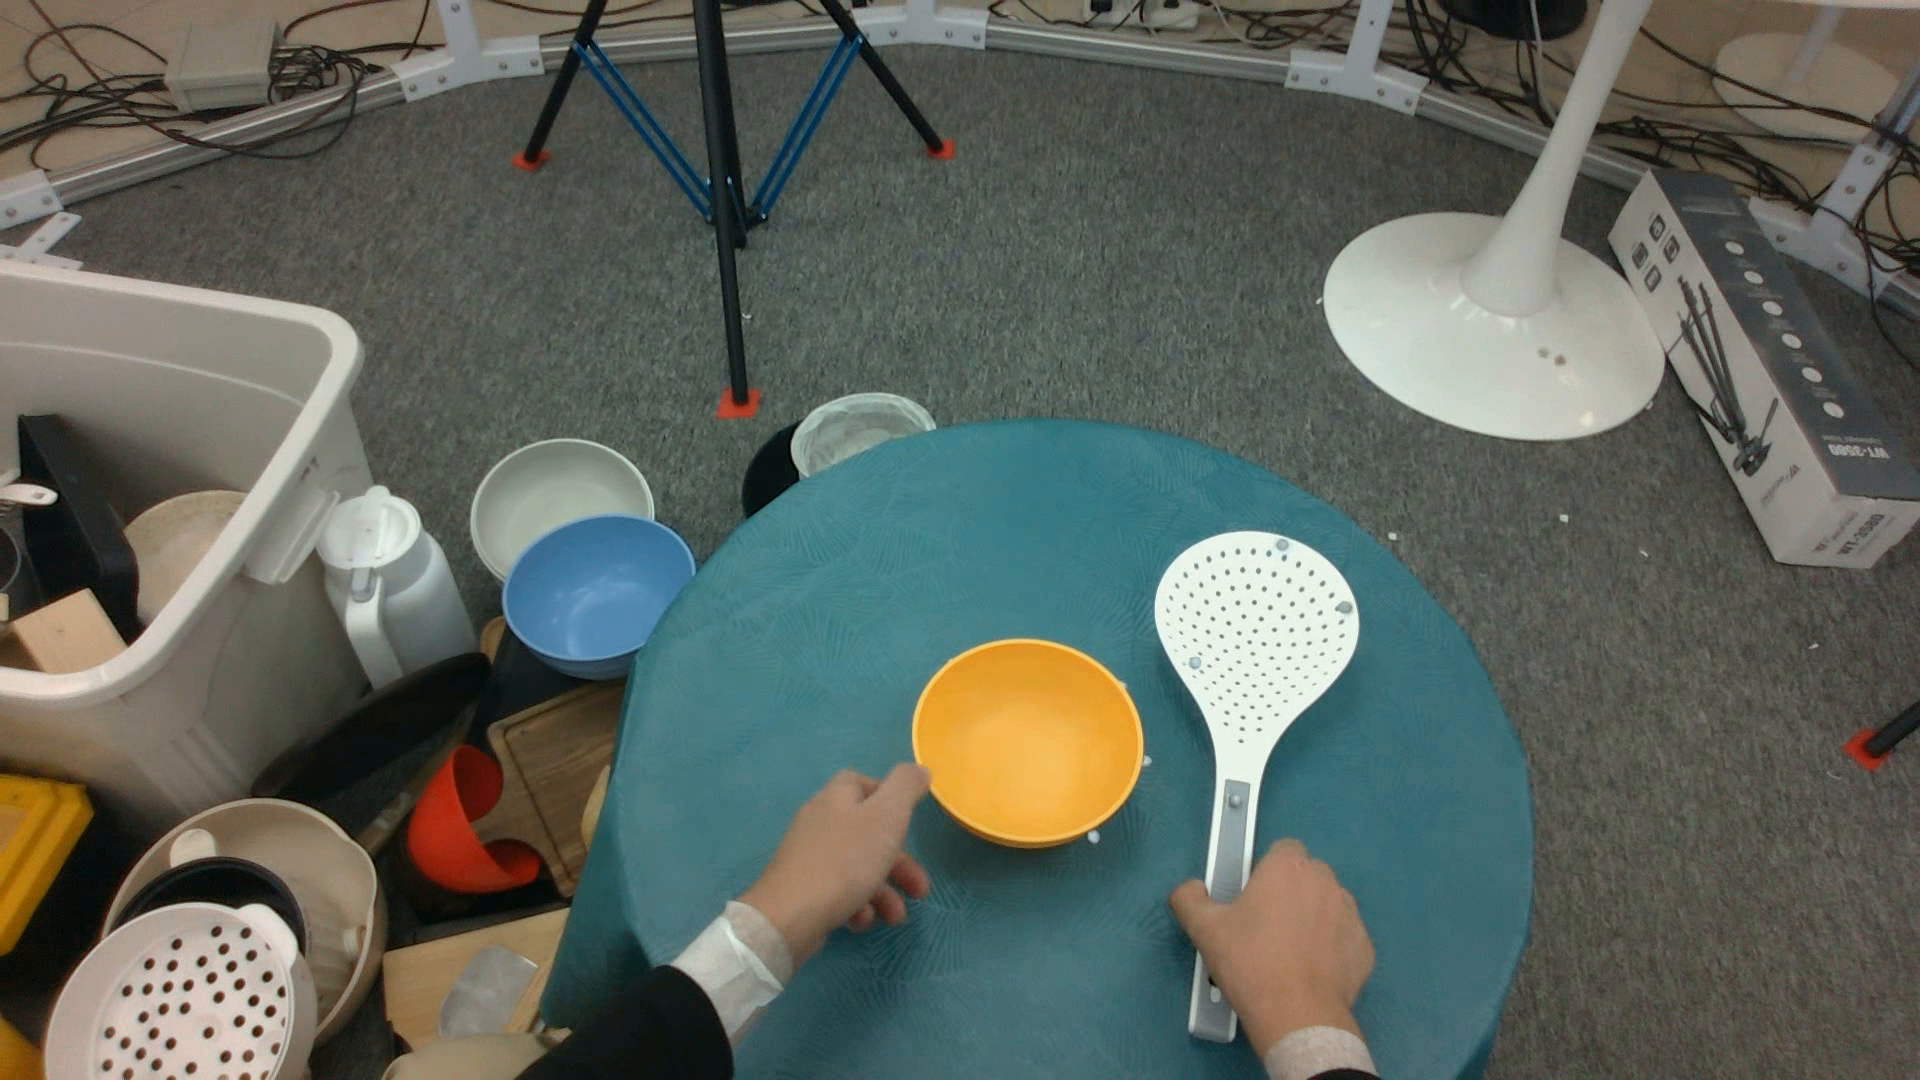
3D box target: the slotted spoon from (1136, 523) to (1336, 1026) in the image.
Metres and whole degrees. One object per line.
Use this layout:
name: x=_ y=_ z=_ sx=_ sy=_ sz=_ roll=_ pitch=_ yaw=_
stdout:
slotted spoon: x=0.166 y=0.136 z=0.887 sx=0.136 sy=0.045 sz=0.351 roll=9 pitch=51 yaw=7

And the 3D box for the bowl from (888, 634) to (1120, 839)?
bowl: x=0.027 y=0.134 z=0.872 sx=0.145 sy=0.060 sz=0.146 roll=2 pitch=49 yaw=-2
